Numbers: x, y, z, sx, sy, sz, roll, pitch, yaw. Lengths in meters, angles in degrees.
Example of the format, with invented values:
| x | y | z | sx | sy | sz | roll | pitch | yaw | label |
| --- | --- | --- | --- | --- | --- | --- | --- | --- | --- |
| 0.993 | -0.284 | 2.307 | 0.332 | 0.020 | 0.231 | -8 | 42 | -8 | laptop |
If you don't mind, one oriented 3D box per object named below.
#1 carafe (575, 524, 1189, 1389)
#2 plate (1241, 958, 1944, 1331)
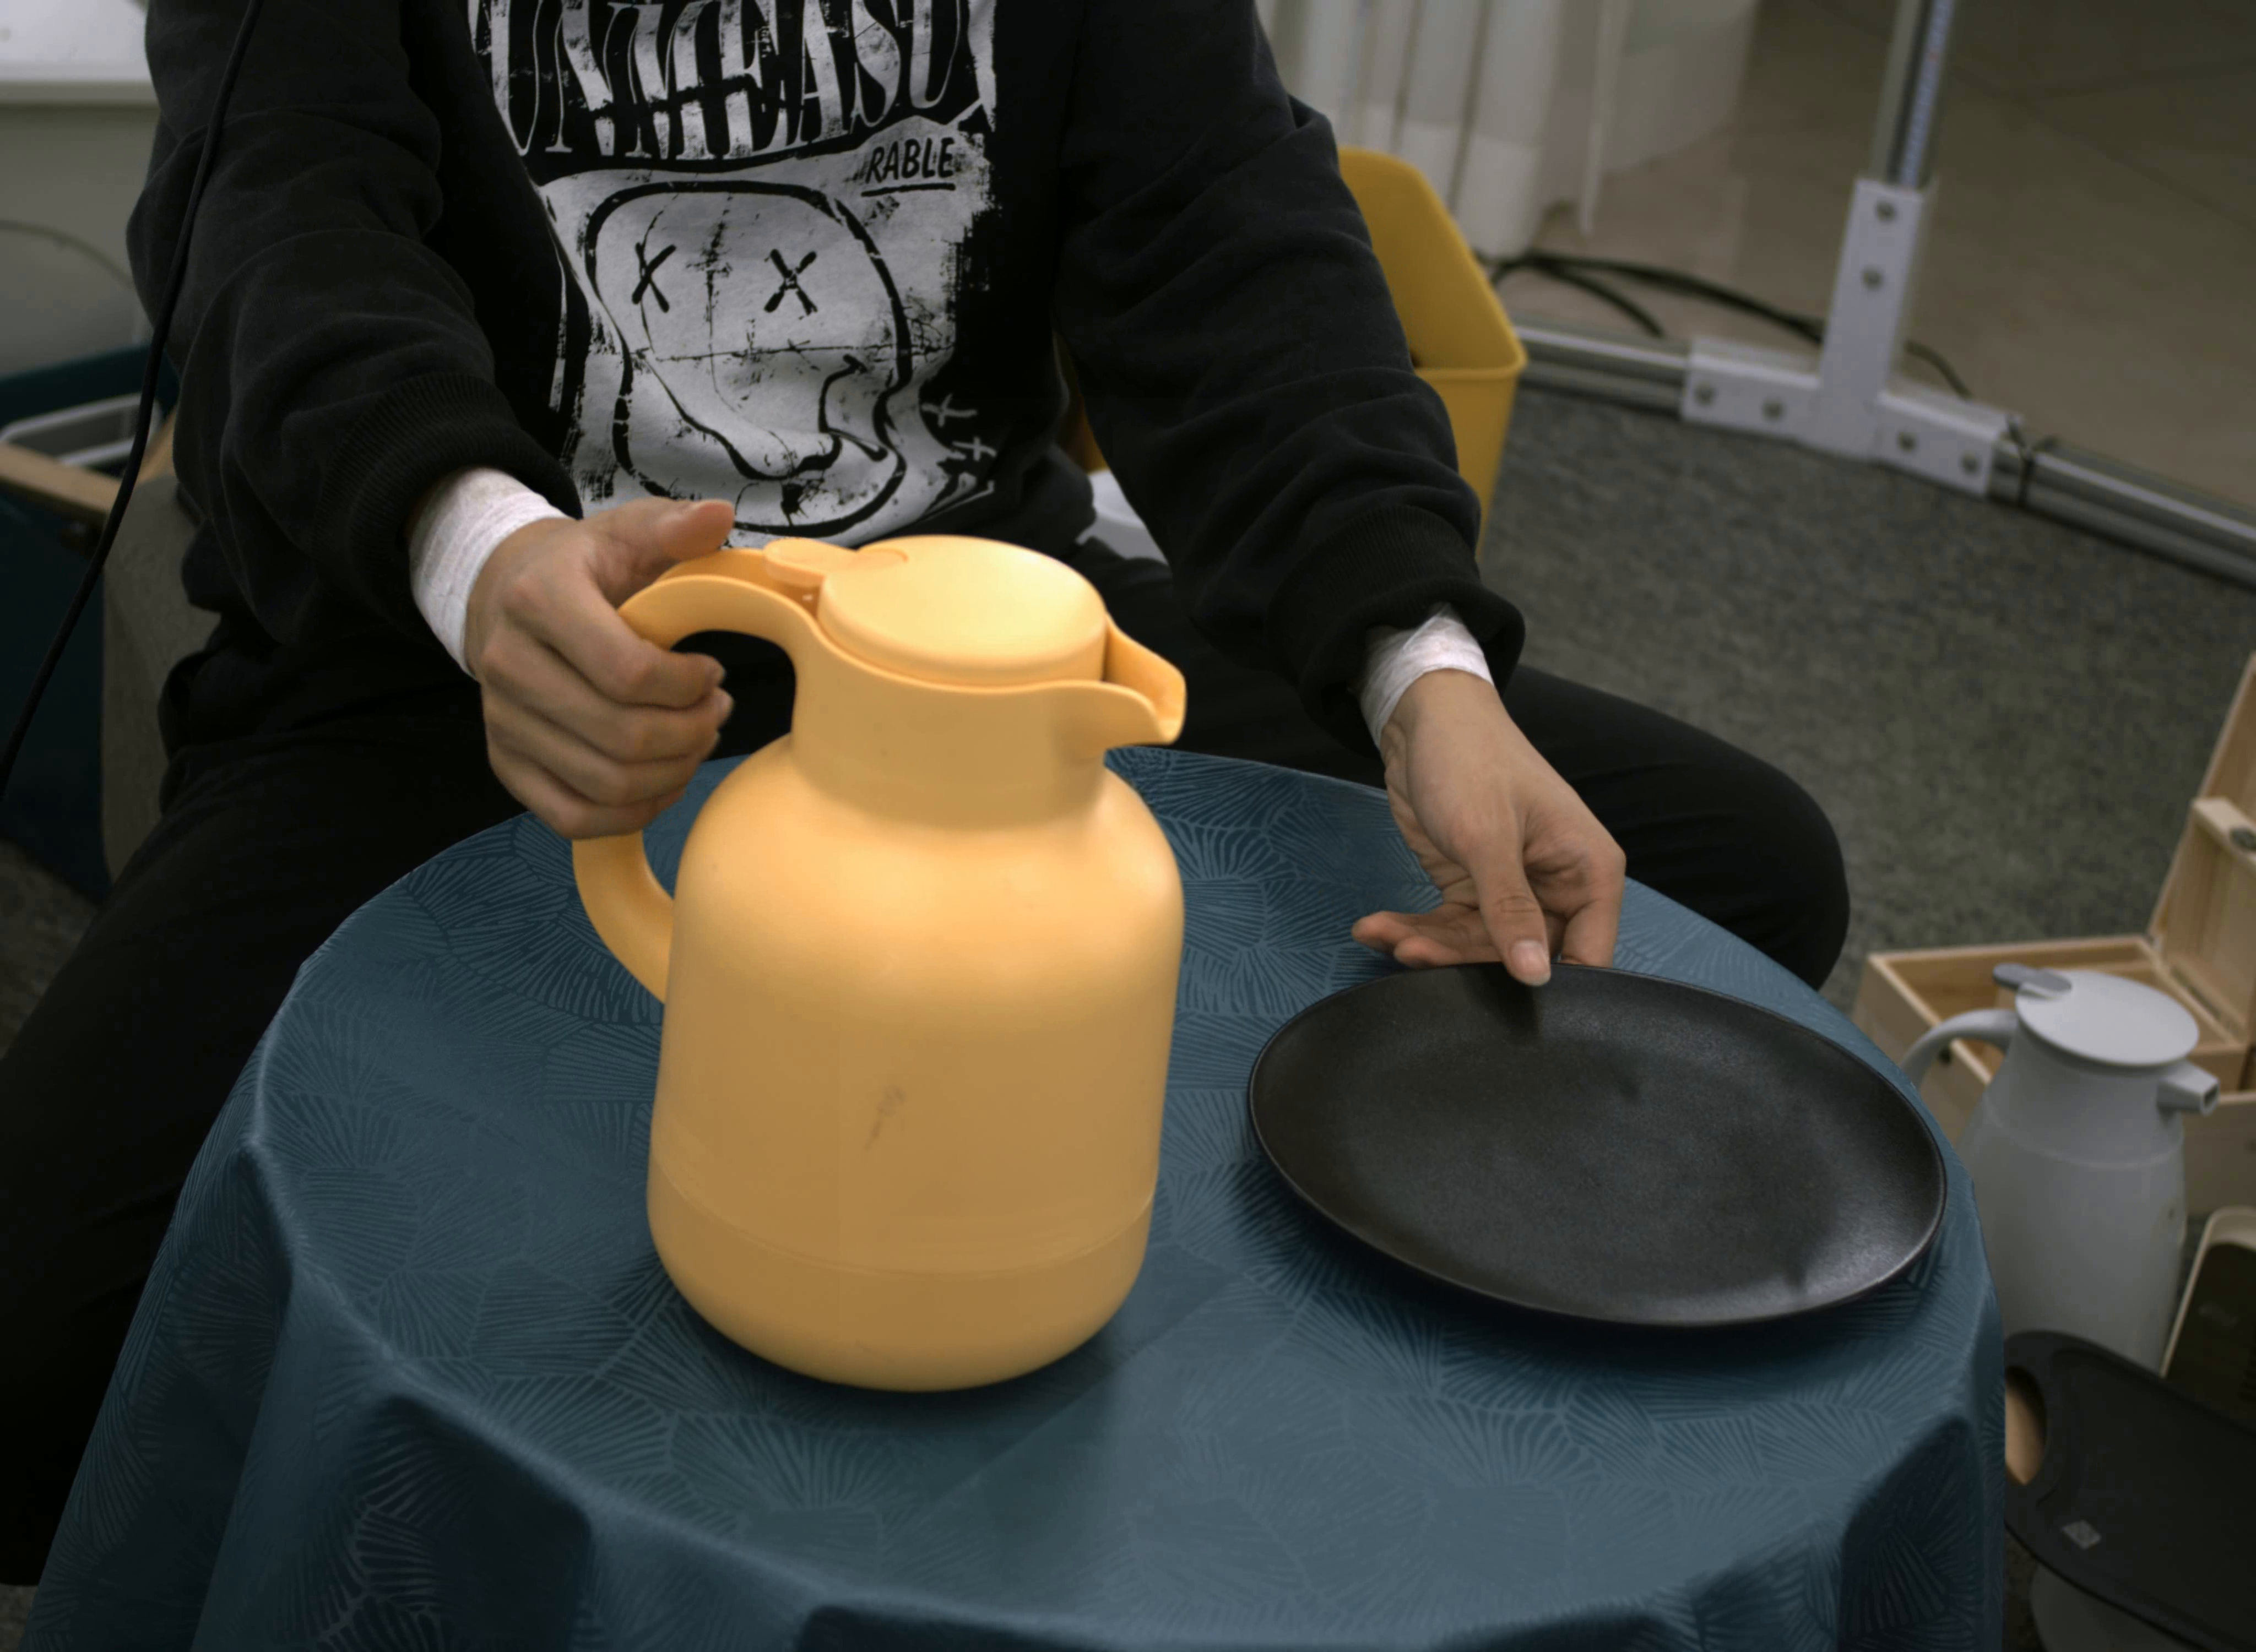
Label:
| x | y | z | sx | sy | sz | roll | pitch | yaw | label |
| --- | --- | --- | --- | --- | --- | --- | --- | --- | --- |
| -0.082 | 0.030 | 1.681 | 0.203 | 0.260 | 0.163 | 19 | 26 | 19 | carafe |
| 0.159 | 0.114 | 1.833 | 0.243 | 0.023 | 0.246 | 5 | 27 | -3 | plate |
